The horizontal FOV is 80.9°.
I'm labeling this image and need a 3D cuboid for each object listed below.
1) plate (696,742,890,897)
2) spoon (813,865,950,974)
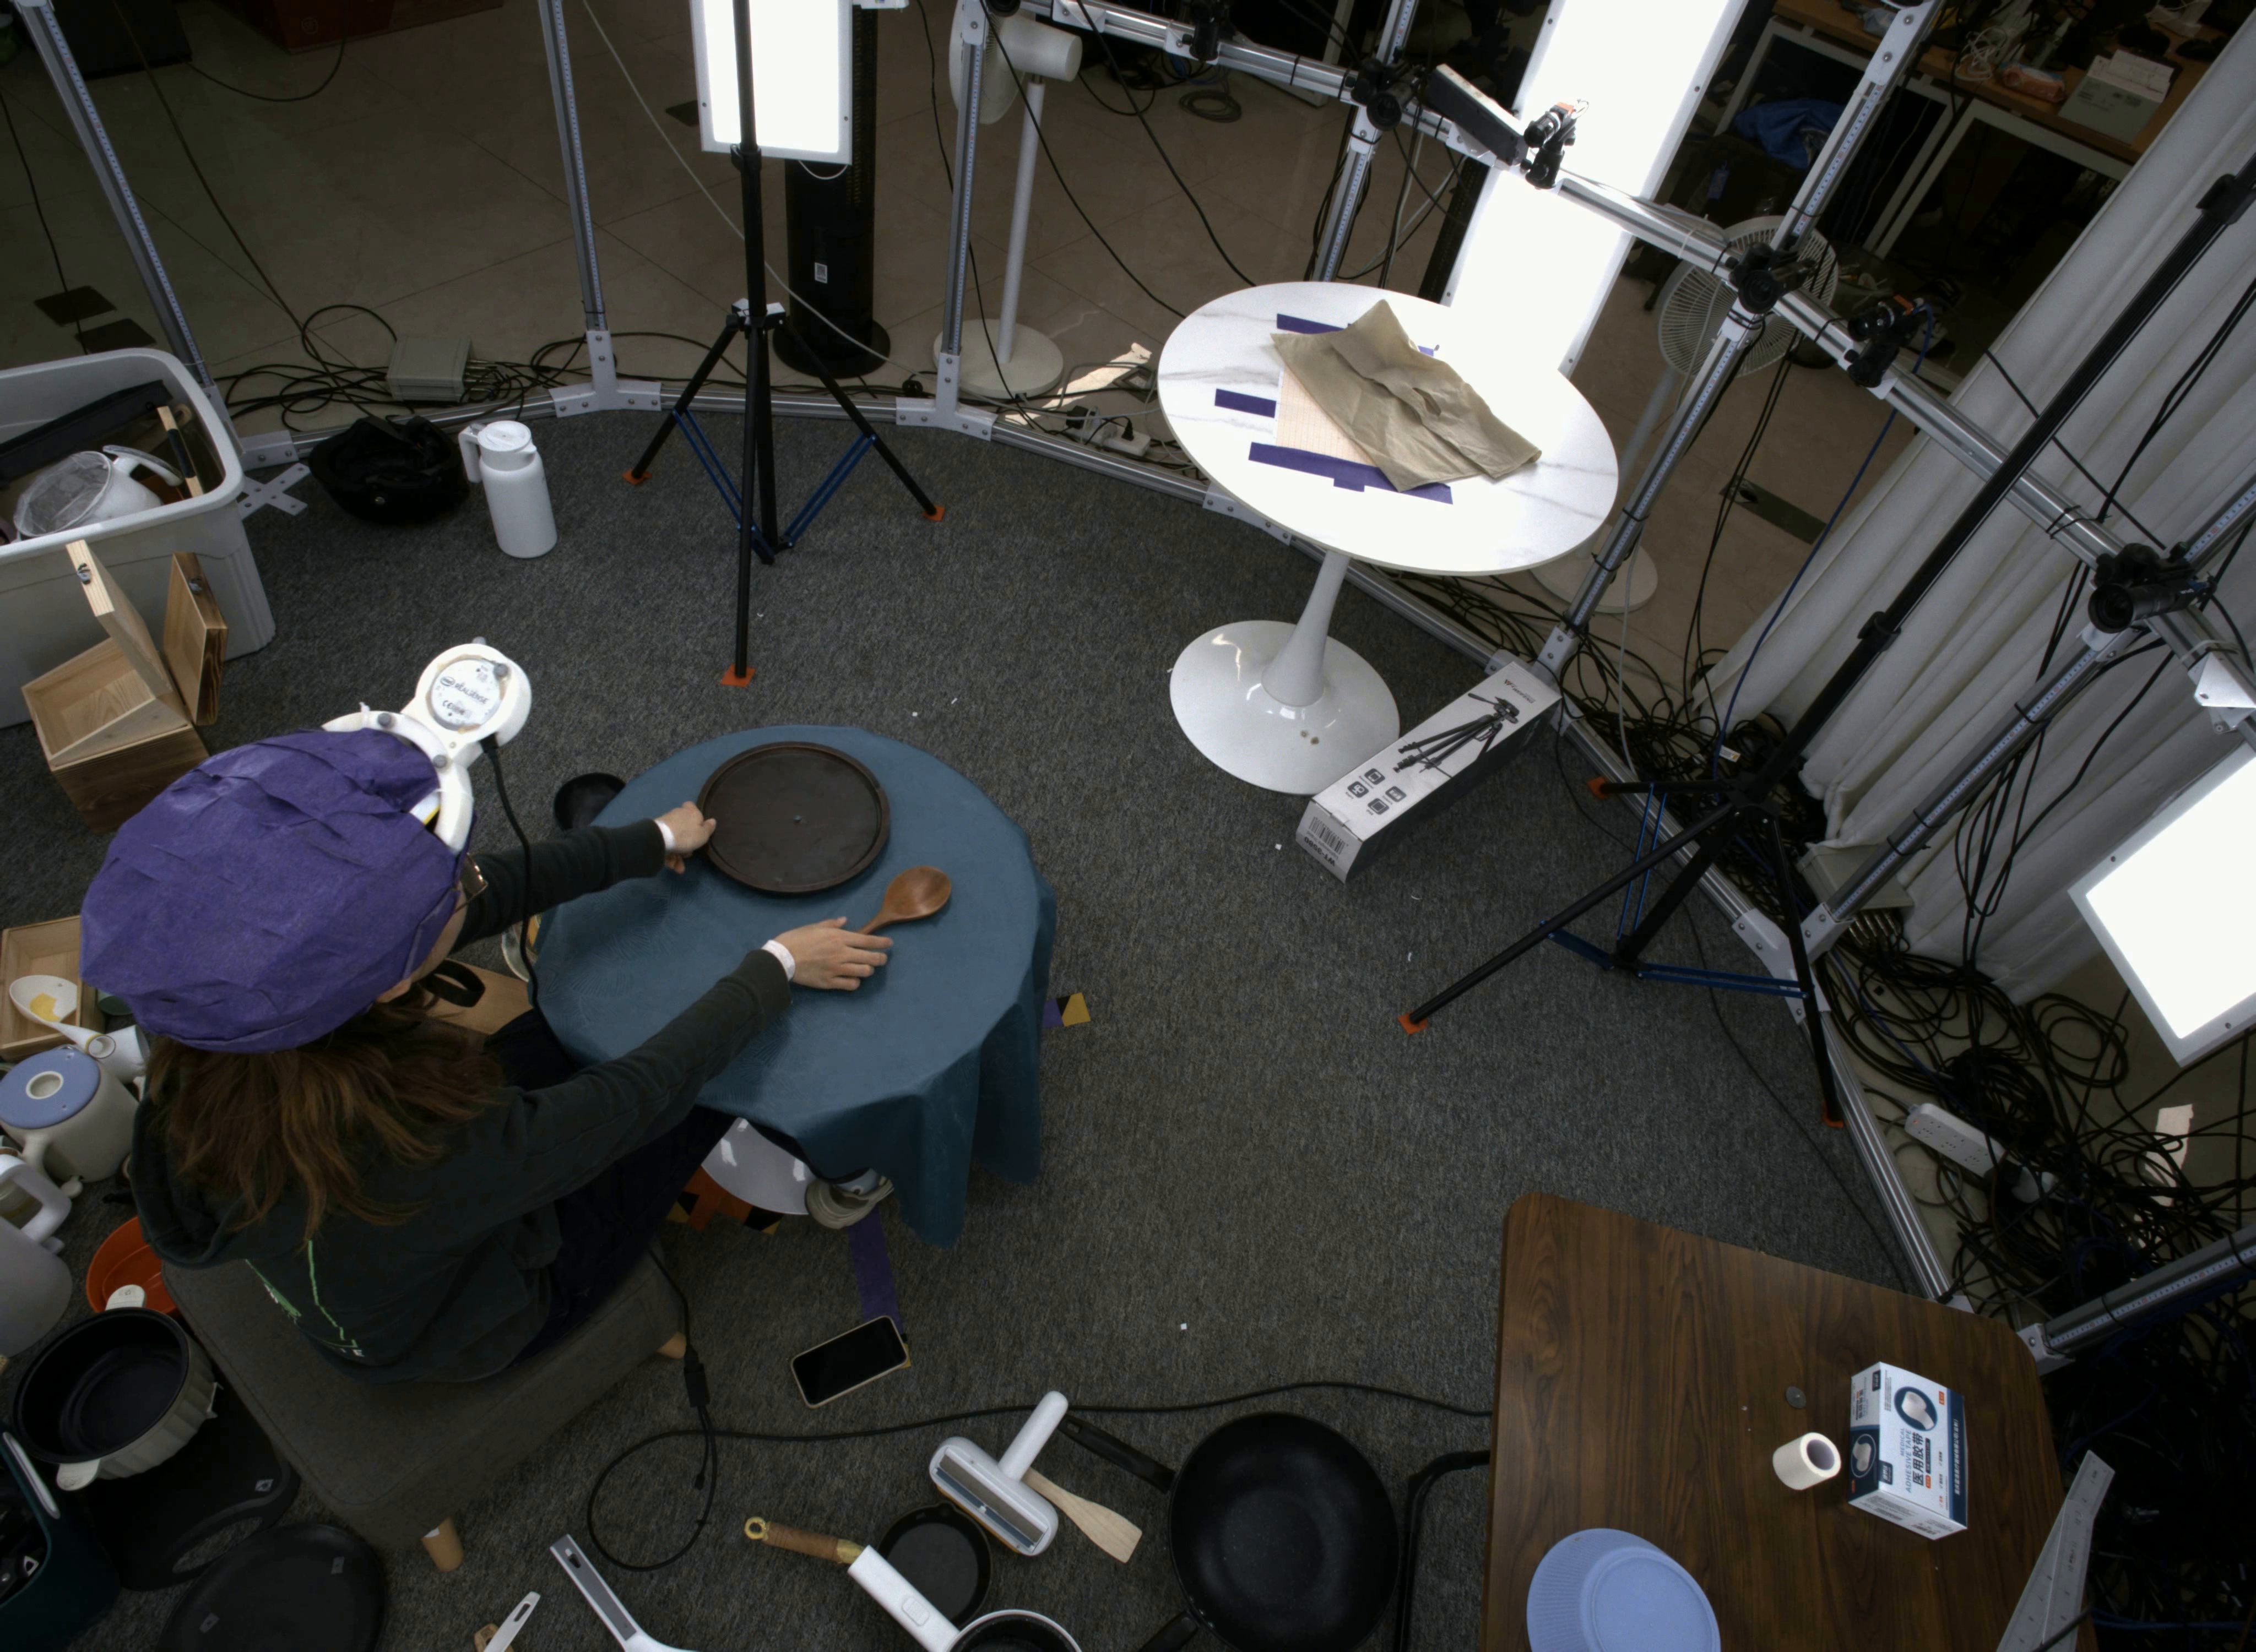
[{"bbox_3d":[-0.442,-0.012,1.716,0.254,0.029,0.250,9,51,-9],"label":"plate"},{"bbox_3d":[-0.315,0.119,1.658,0.074,0.017,0.216,40,55,16],"label":"spoon"}]
